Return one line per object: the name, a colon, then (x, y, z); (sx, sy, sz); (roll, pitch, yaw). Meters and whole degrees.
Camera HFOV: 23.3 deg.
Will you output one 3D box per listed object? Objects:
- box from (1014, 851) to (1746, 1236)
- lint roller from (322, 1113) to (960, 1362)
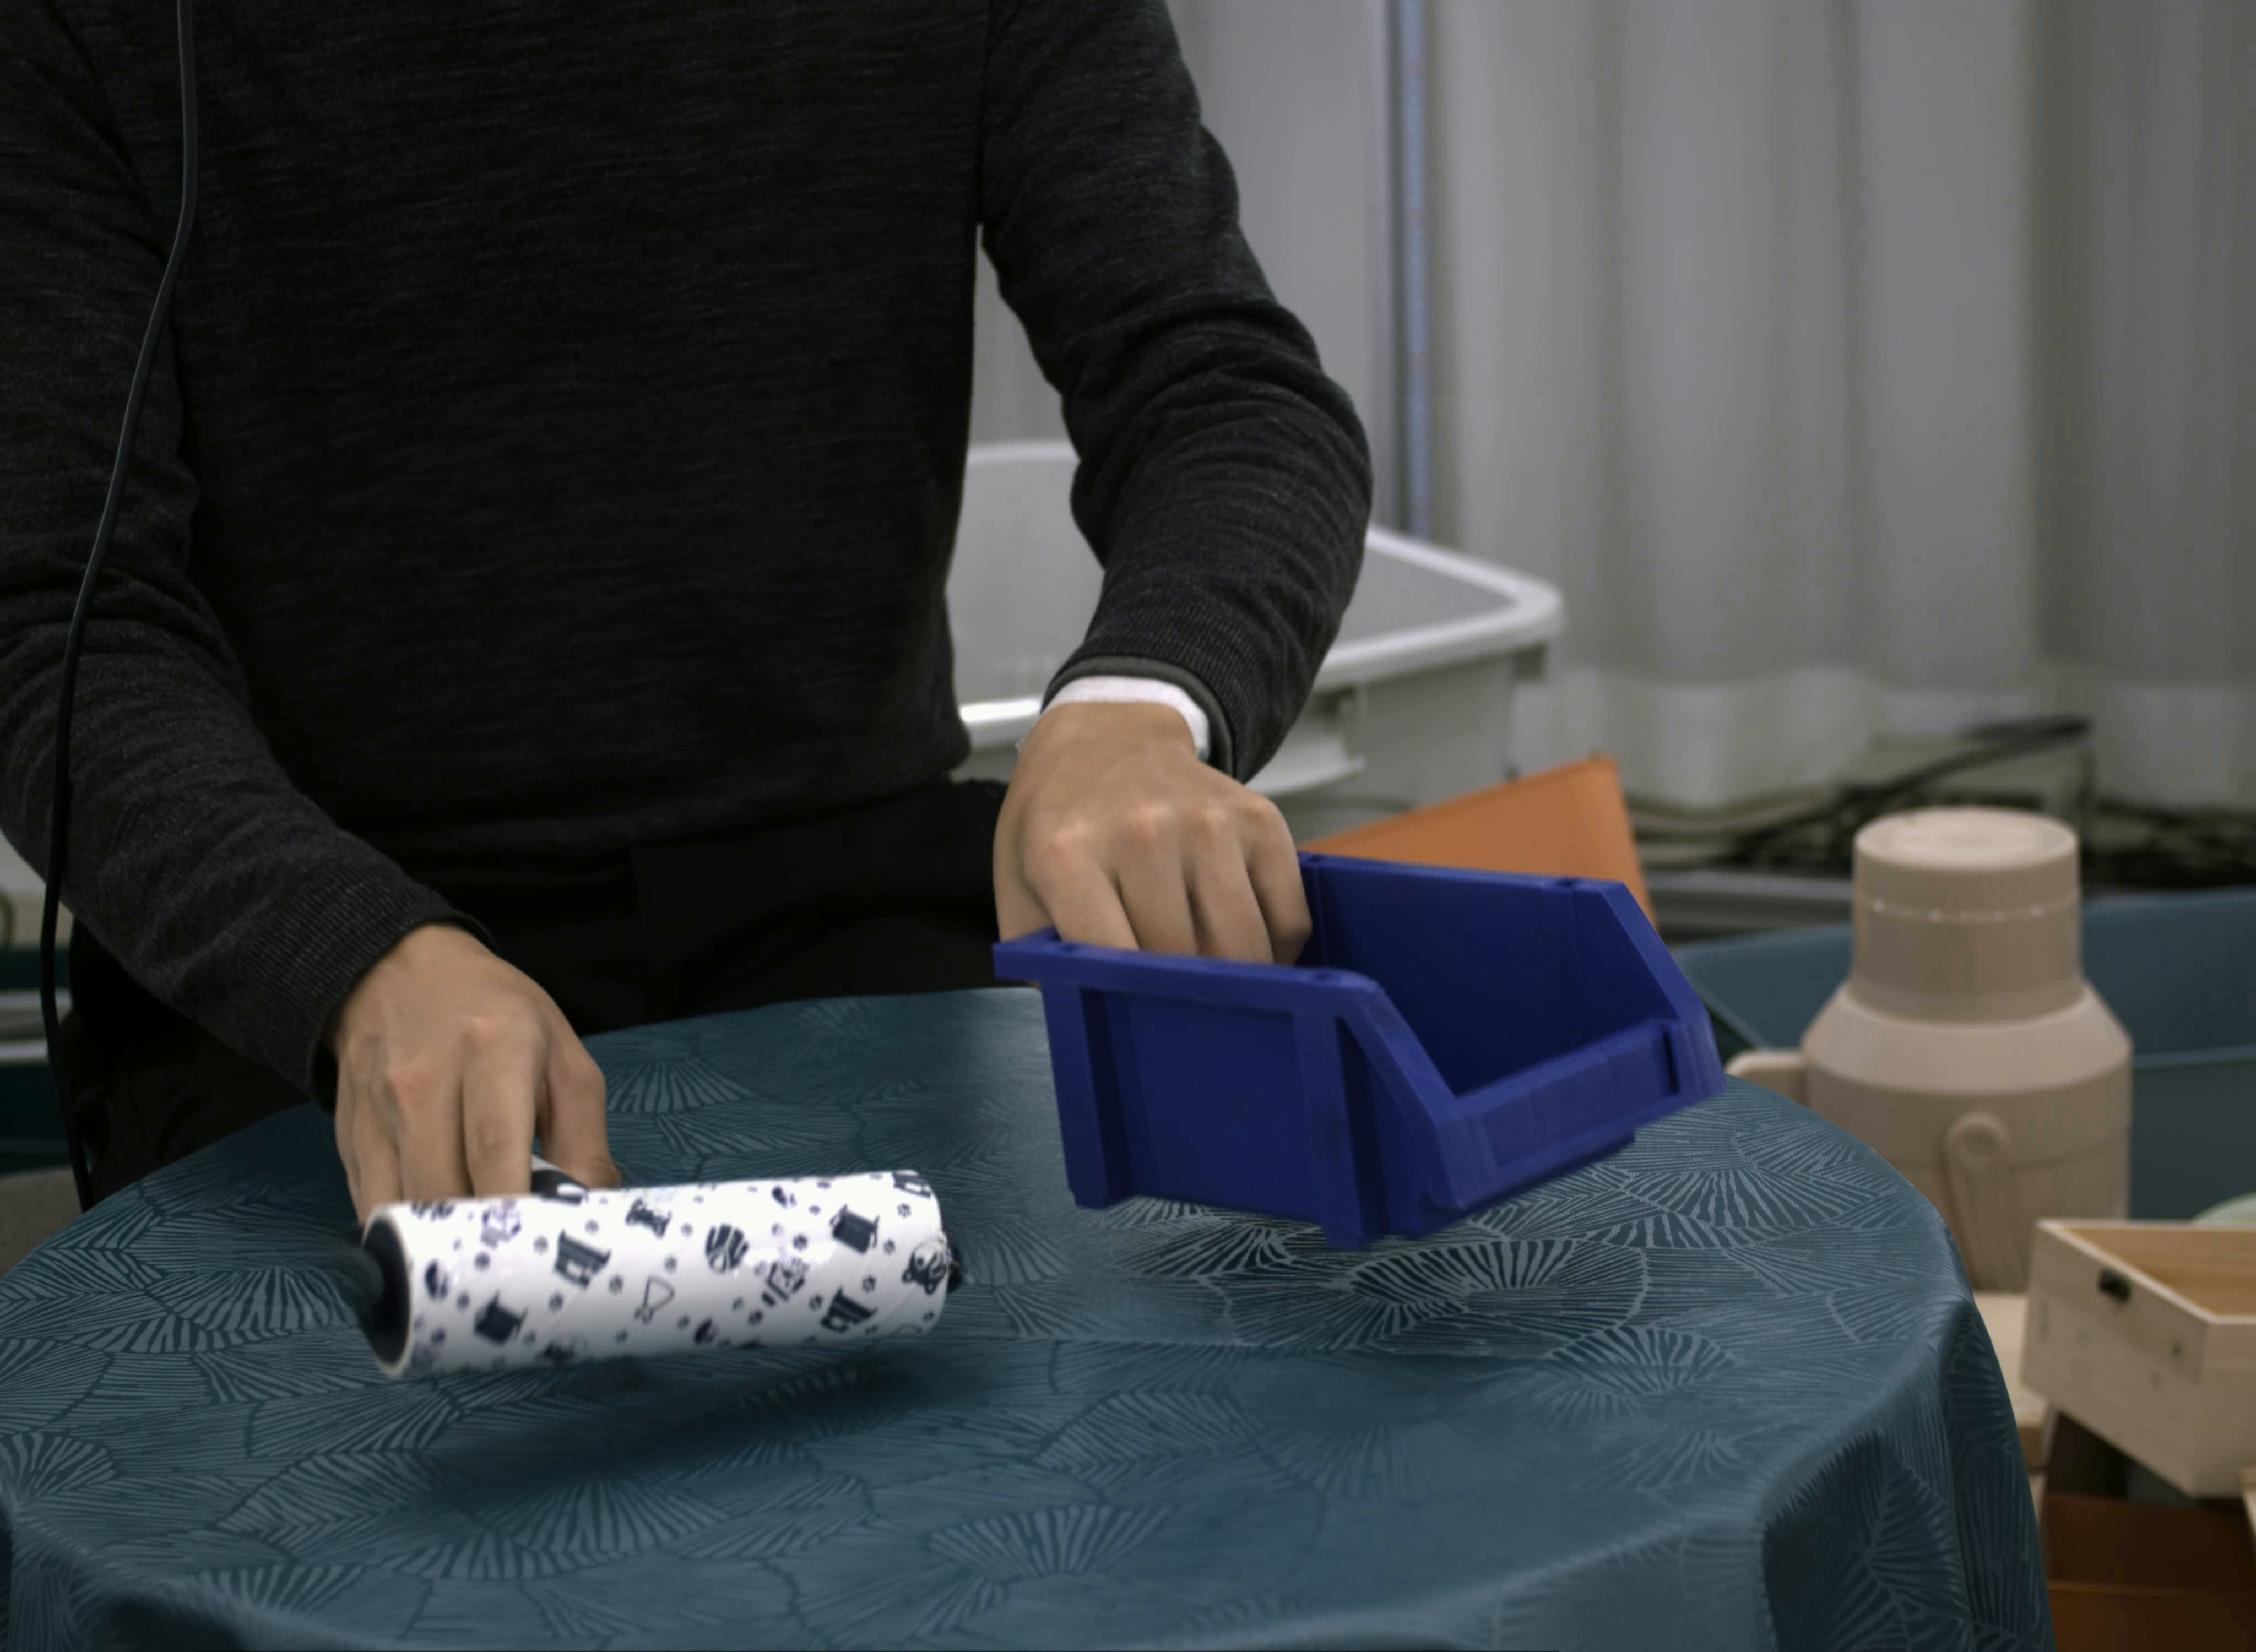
box: (0.075, 0.062, 1.613); (0.124, 0.082, 0.180); (-17, 12, -41)
lint roller: (-0.178, 0.108, 1.615); (0.175, 0.050, 0.248); (-2, 8, -27)
